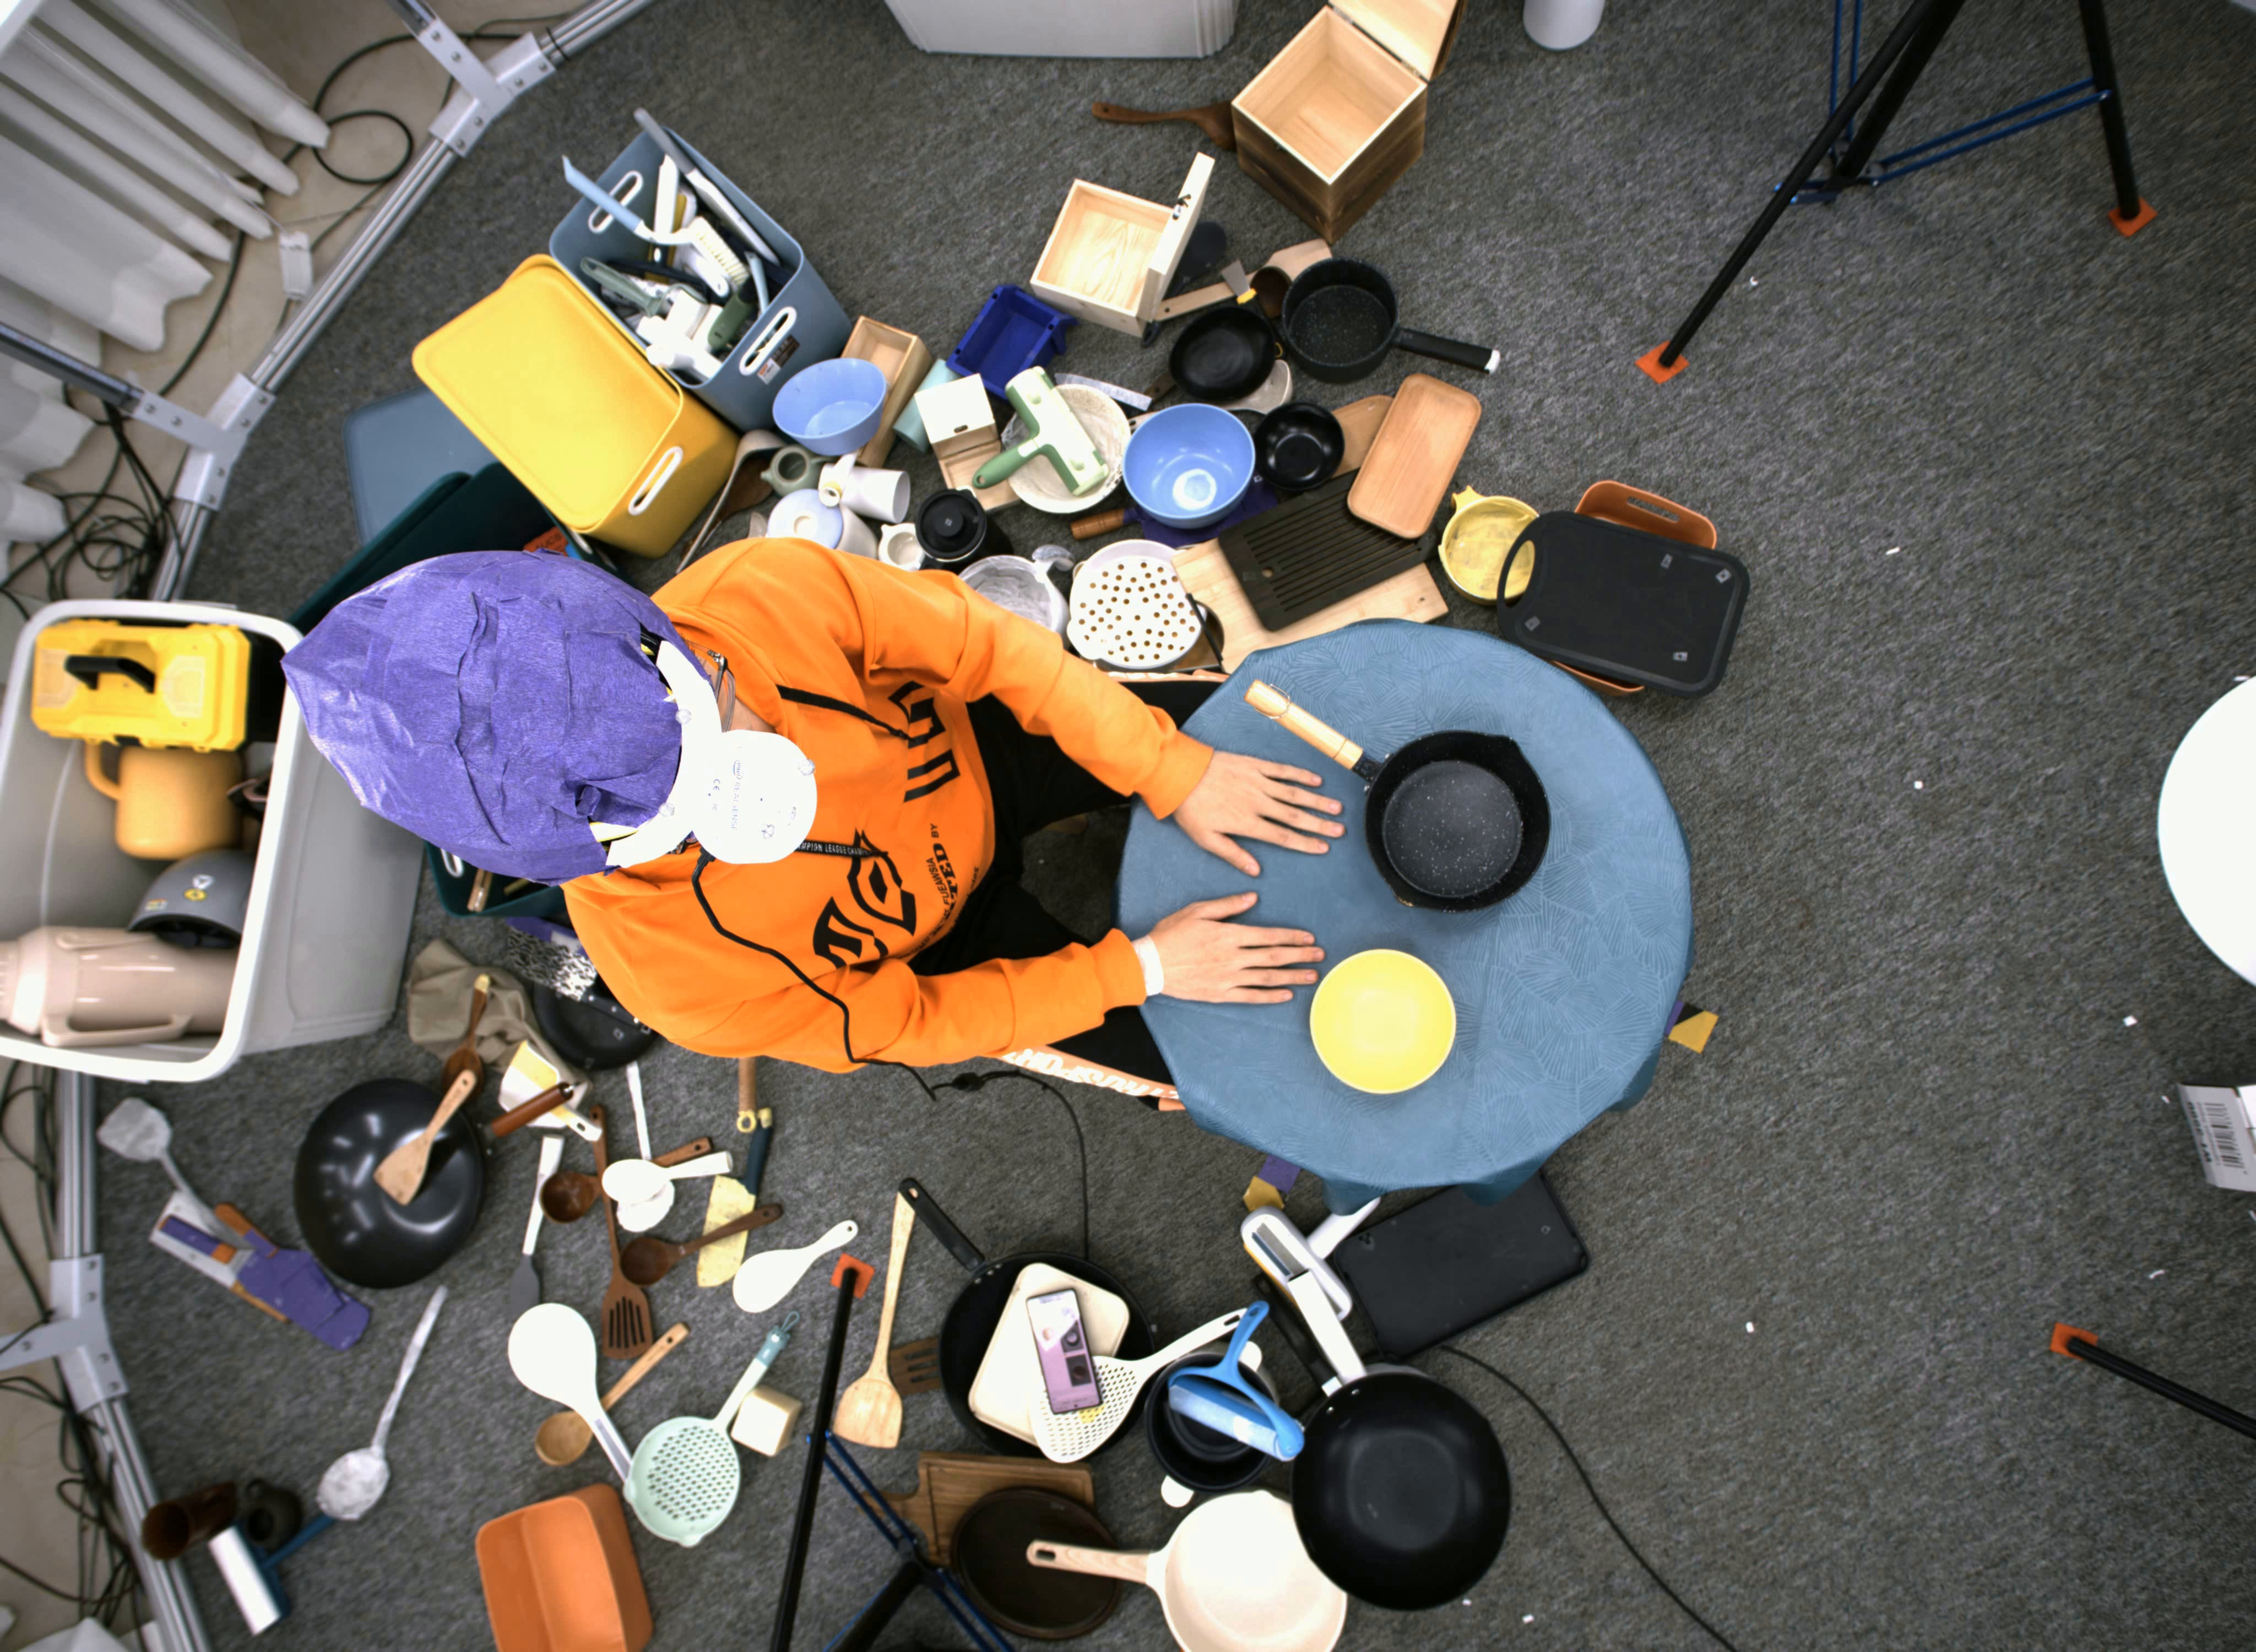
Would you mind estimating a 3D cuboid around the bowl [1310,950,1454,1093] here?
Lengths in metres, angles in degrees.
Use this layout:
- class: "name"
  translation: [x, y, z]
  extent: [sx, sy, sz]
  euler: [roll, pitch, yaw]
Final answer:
- class: "bowl"
  translation: [0.260, 0.200, 1.425]
  extent: [0.146, 0.060, 0.144]
  euler: [-1, 85, 10]

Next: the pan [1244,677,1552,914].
- class: "pan"
  translation: [0.266, -0.046, 1.412]
  extent: [0.342, 0.108, 0.208]
  euler: [32, 94, 9]
